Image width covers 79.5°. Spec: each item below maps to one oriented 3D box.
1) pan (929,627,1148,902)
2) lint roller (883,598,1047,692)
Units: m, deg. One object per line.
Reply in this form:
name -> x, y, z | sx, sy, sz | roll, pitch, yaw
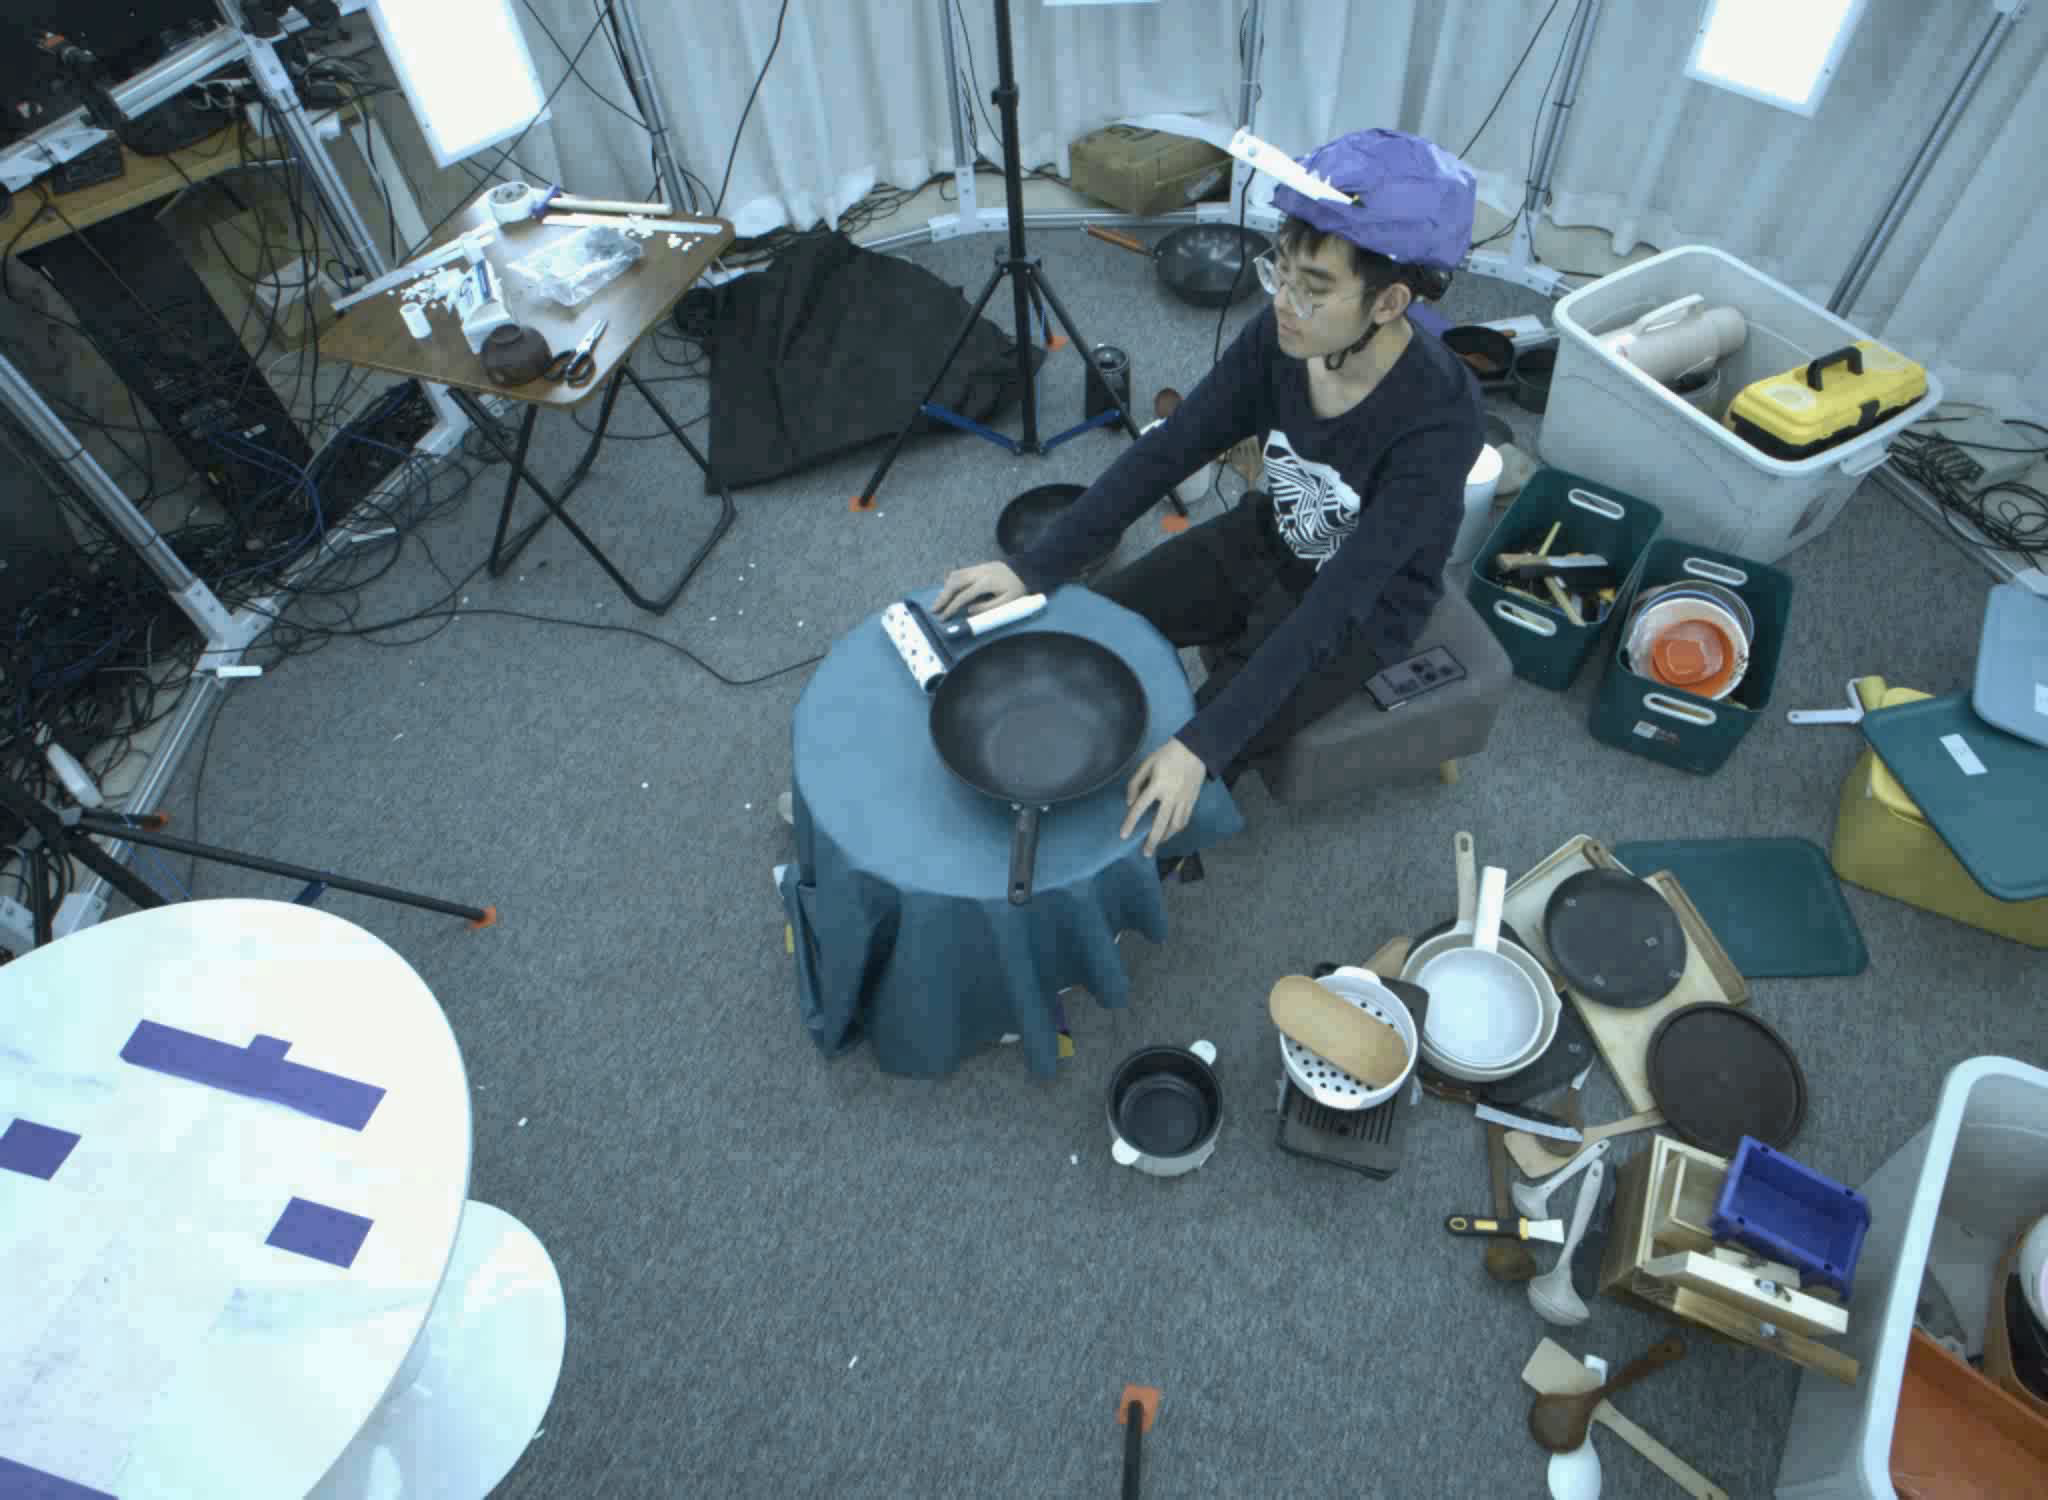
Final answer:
pan -> 0.015, 0.026, 1.709 | 0.309, 0.113, 0.472 | 1, 54, 4
lint roller -> -0.077, -0.195, 1.912 | 0.249, 0.051, 0.173 | -23, 56, -18
